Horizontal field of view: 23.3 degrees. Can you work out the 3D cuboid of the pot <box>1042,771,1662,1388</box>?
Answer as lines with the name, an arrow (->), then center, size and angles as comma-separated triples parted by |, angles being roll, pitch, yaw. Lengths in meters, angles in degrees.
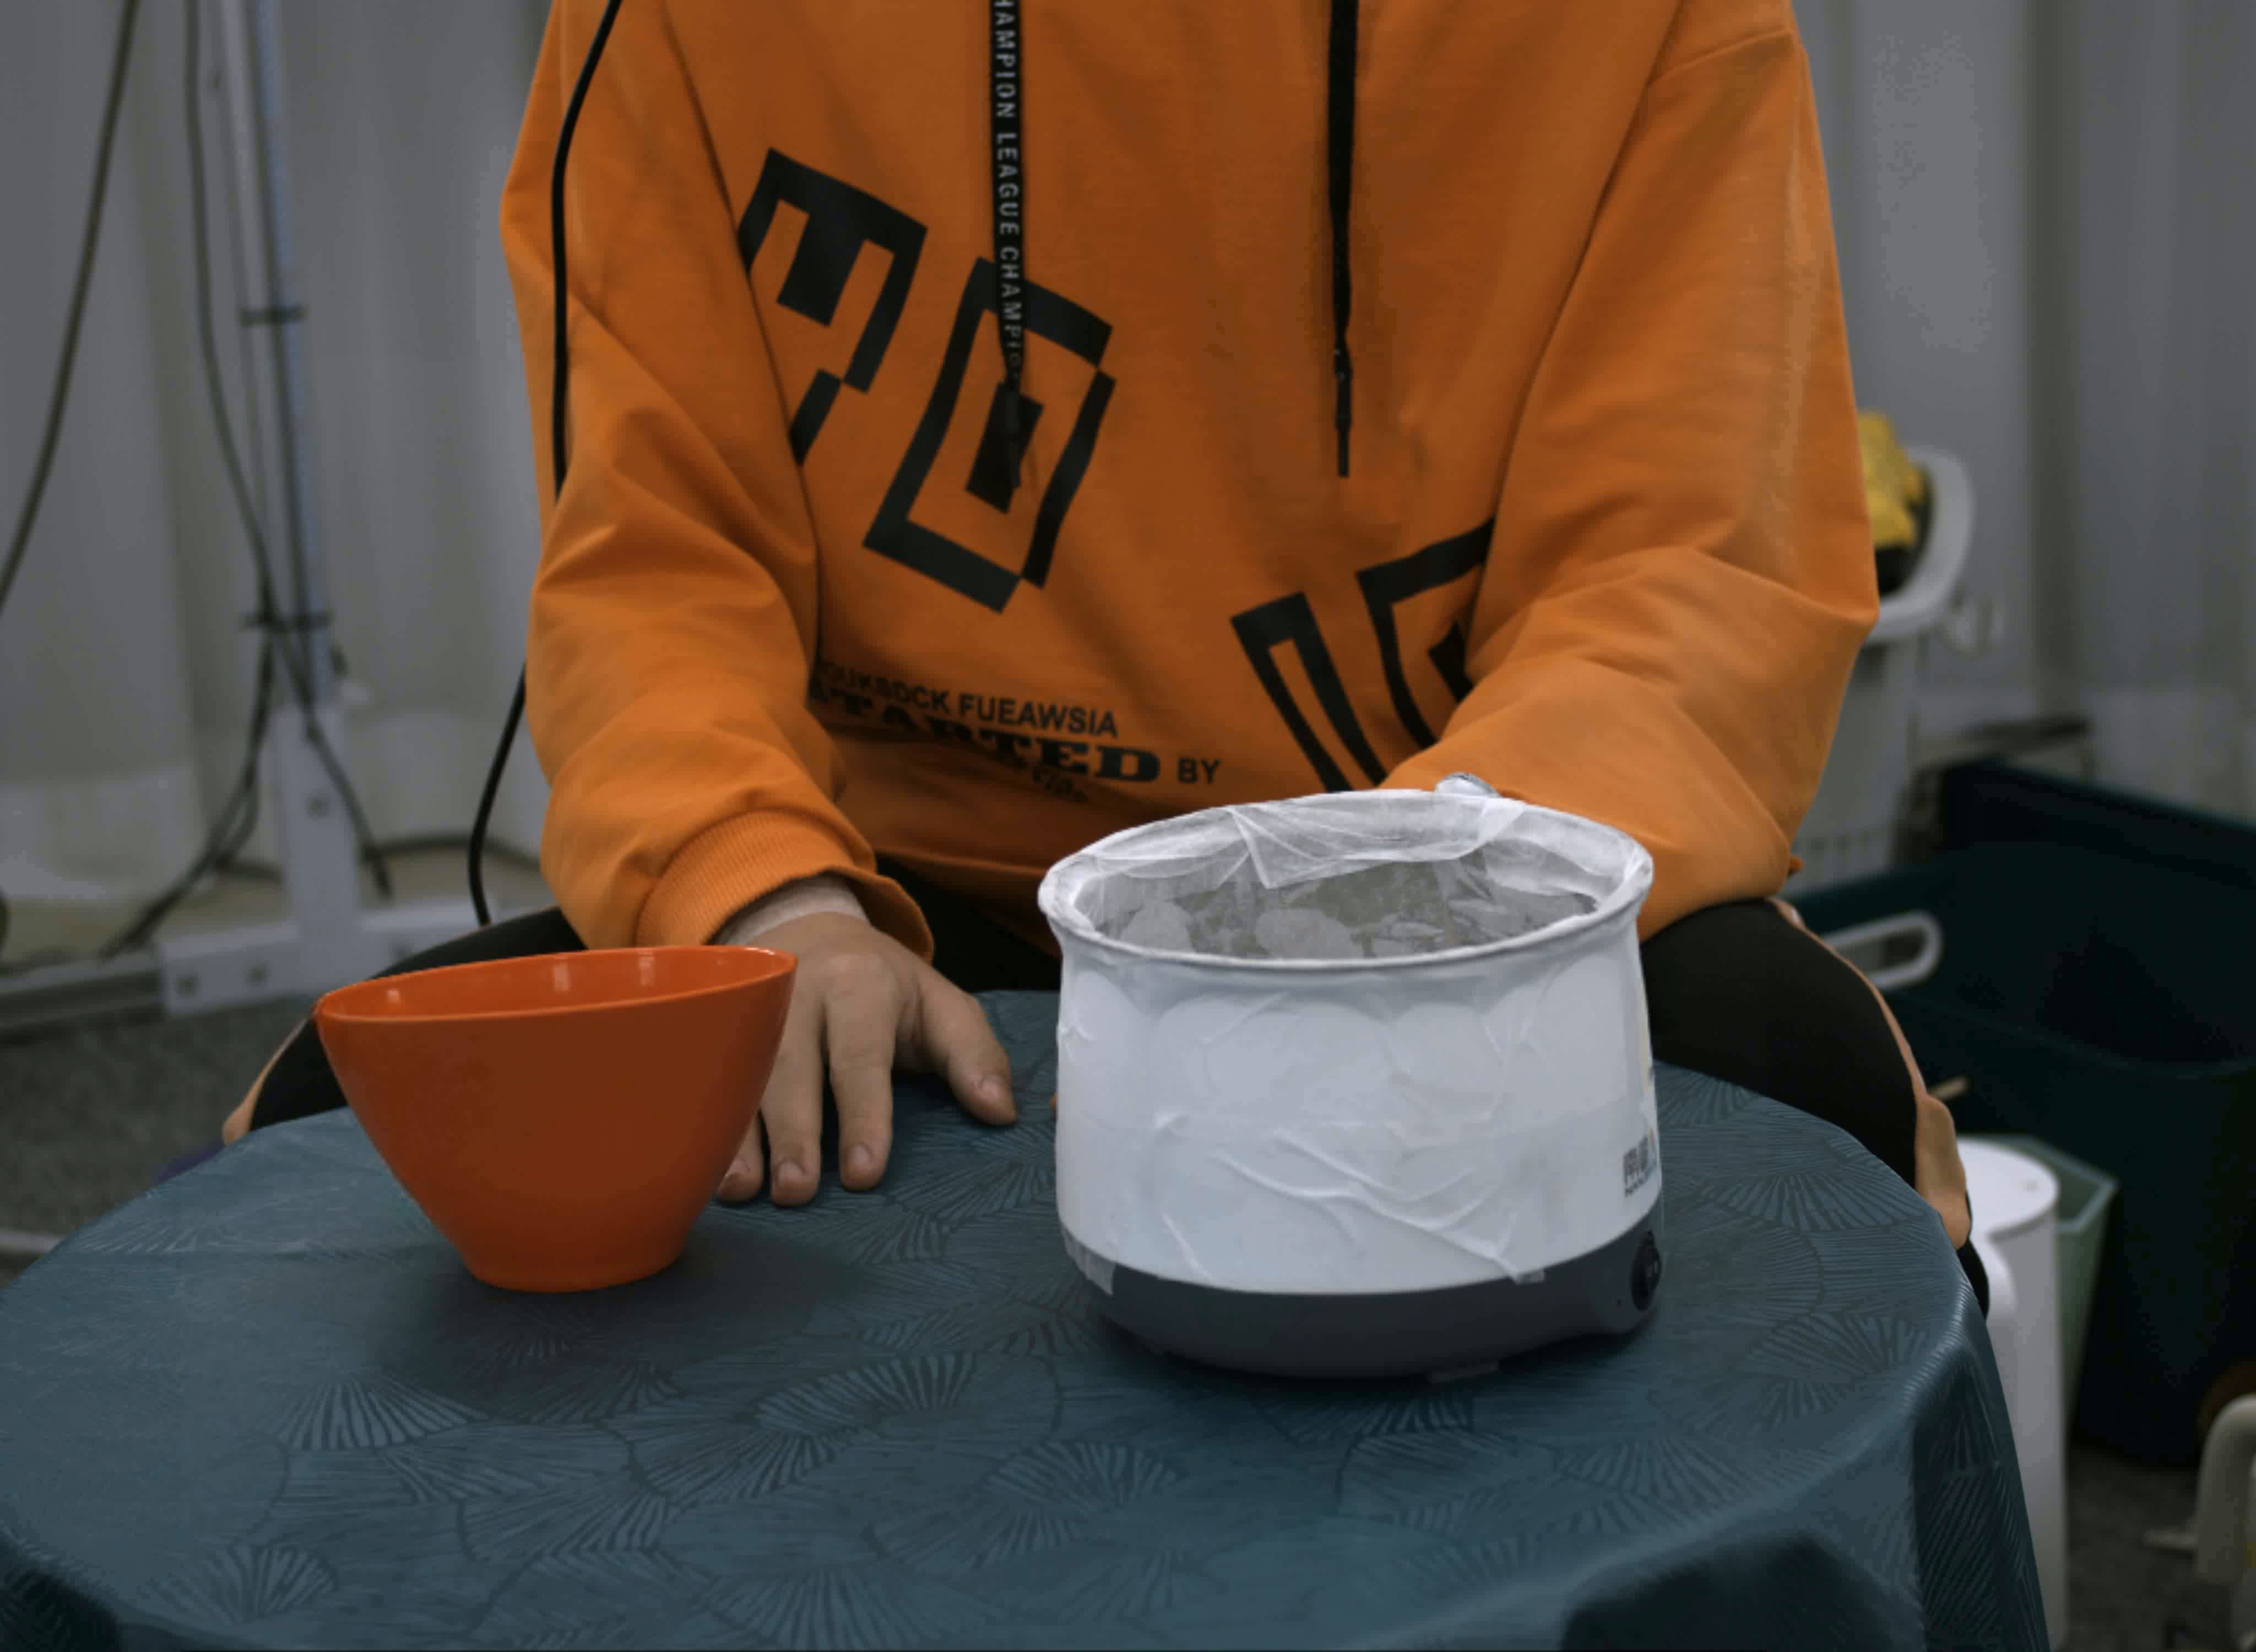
pot -> 0.076, 0.068, 1.612 | 0.179, 0.136, 0.234 | 3, 16, 21

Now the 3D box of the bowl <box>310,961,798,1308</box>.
bowl -> -0.171, 0.090, 1.659 | 0.147, 0.104, 0.149 | -2, 13, 0
